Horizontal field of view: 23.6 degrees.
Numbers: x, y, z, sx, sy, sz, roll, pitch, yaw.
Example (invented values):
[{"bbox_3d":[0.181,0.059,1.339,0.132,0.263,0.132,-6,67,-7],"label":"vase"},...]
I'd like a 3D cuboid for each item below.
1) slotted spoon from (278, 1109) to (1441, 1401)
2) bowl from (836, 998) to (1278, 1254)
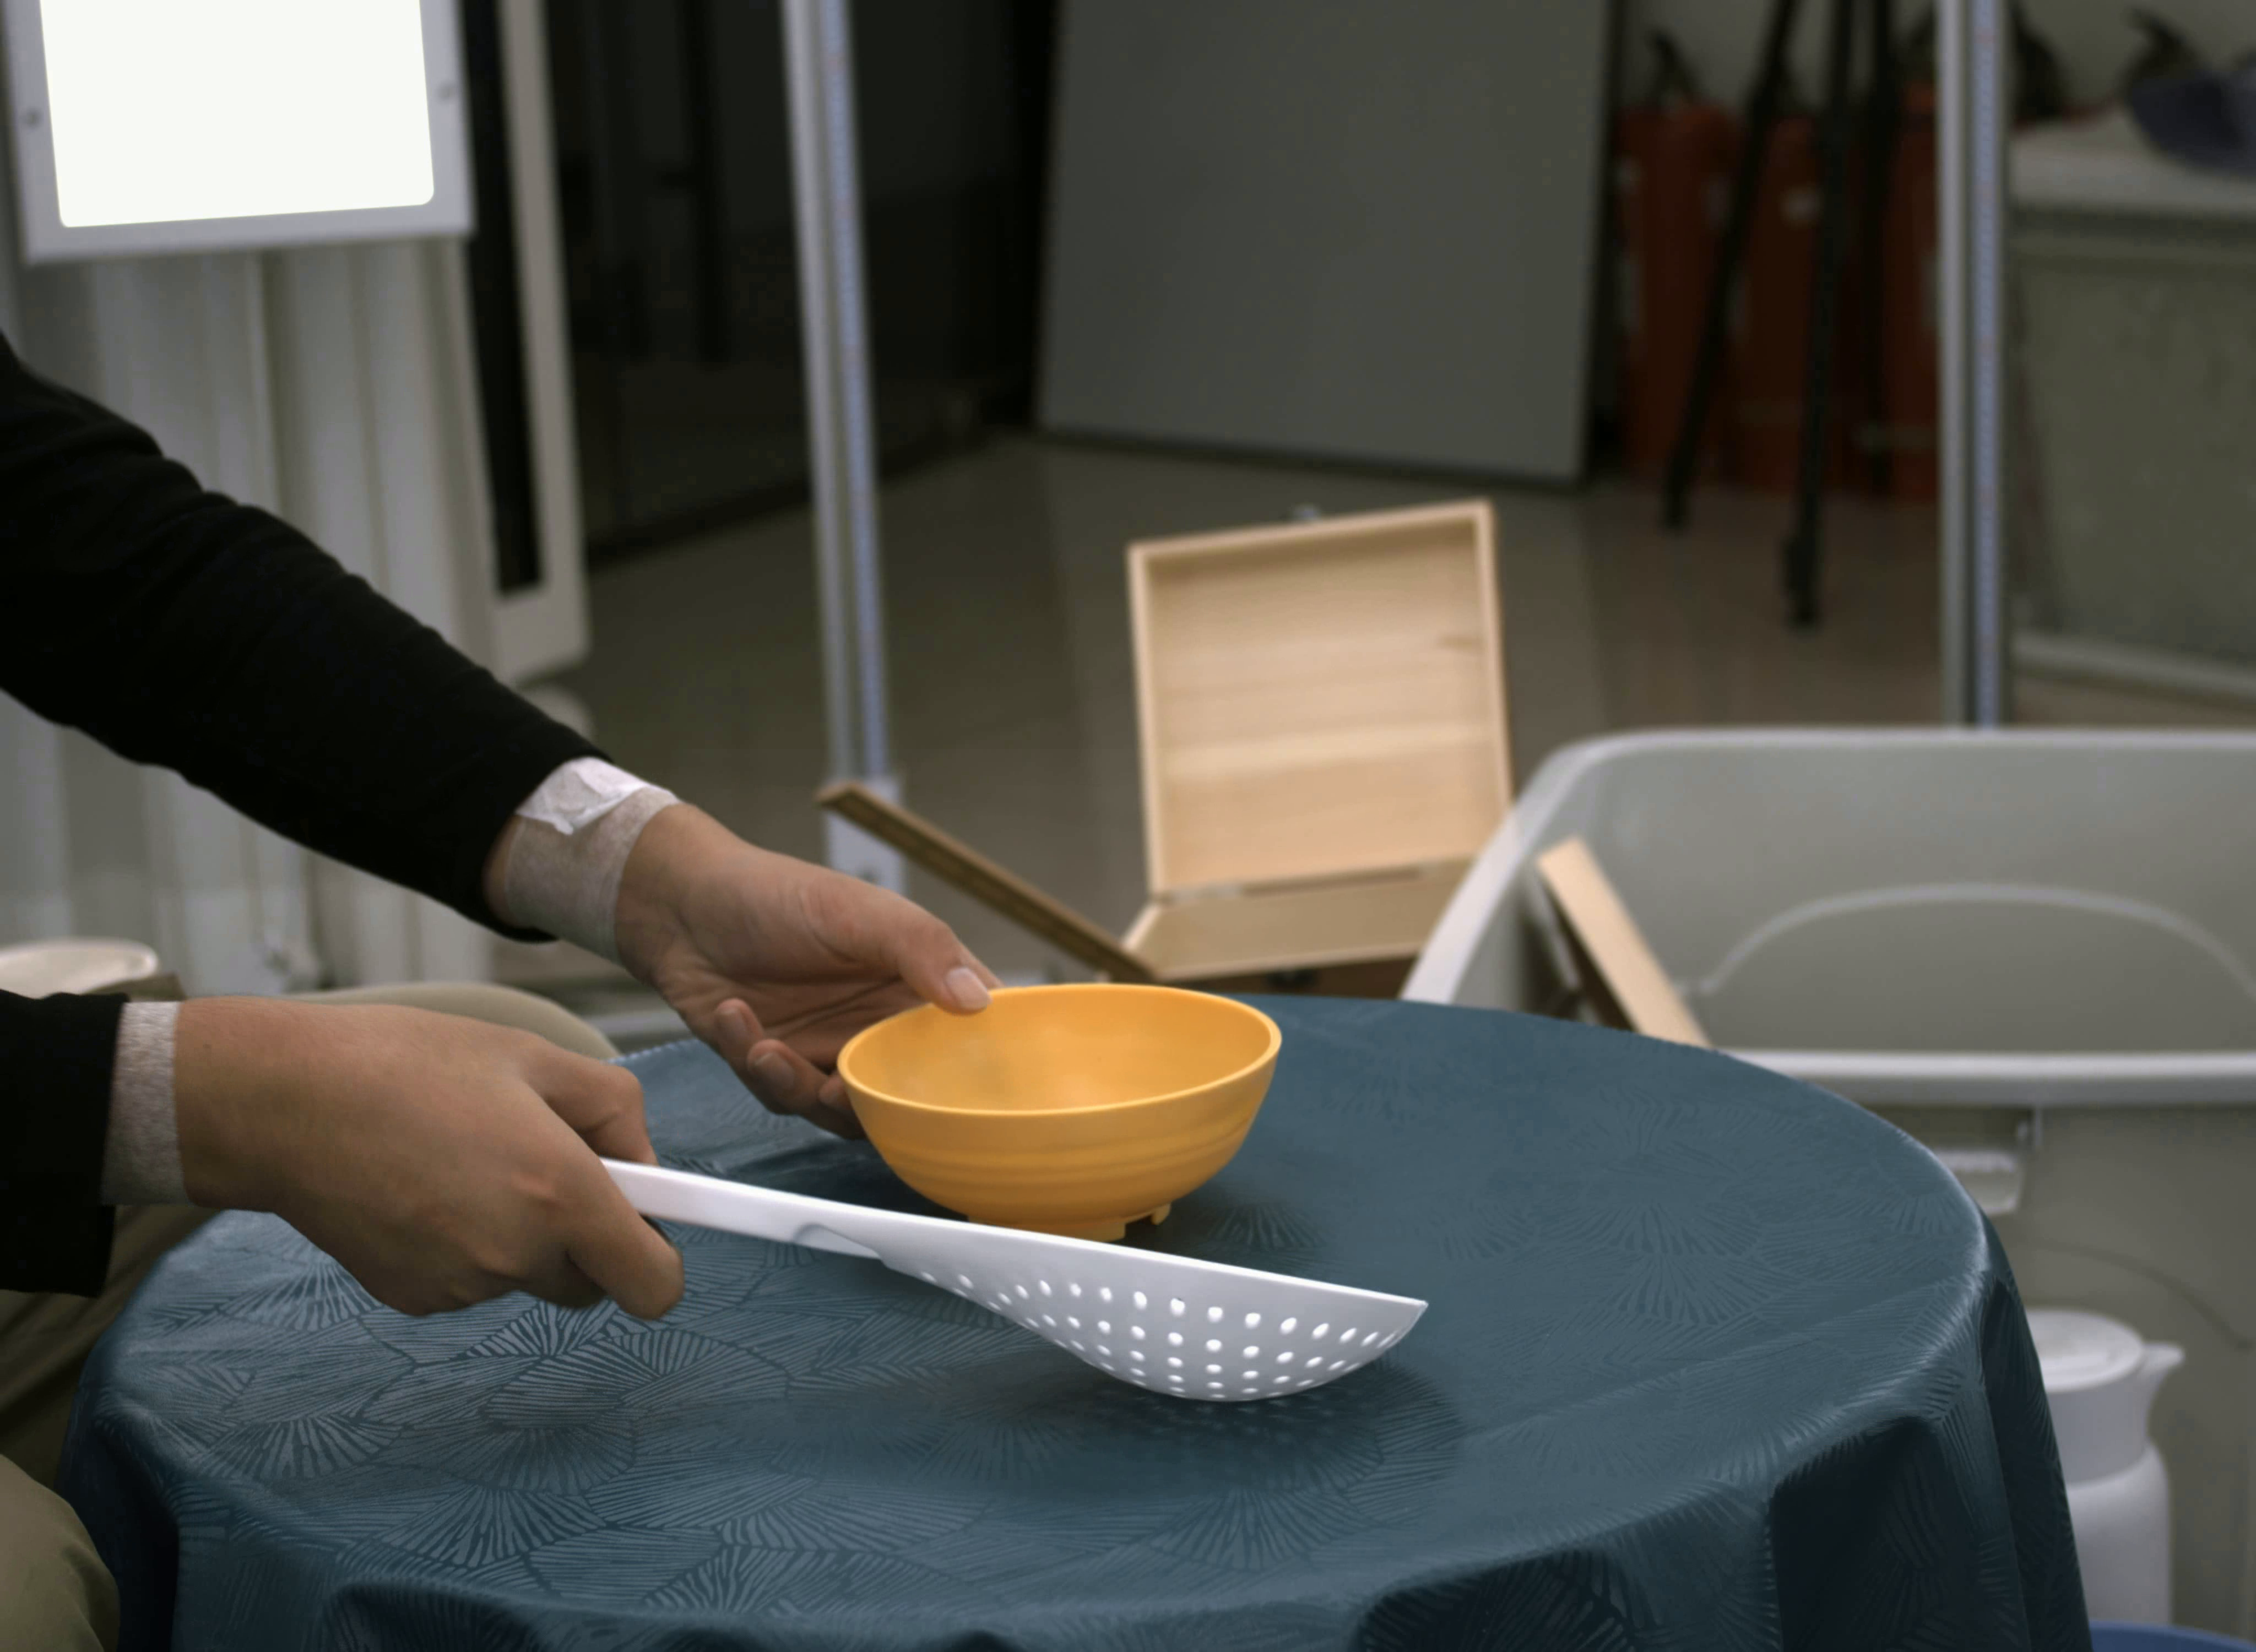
[{"bbox_3d":[-0.081,0.117,1.578,0.347,0.046,0.135,13,-3,10],"label":"slotted spoon"},{"bbox_3d":[-0.022,0.101,1.742,0.143,0.061,0.145,-3,12,0],"label":"bowl"}]
